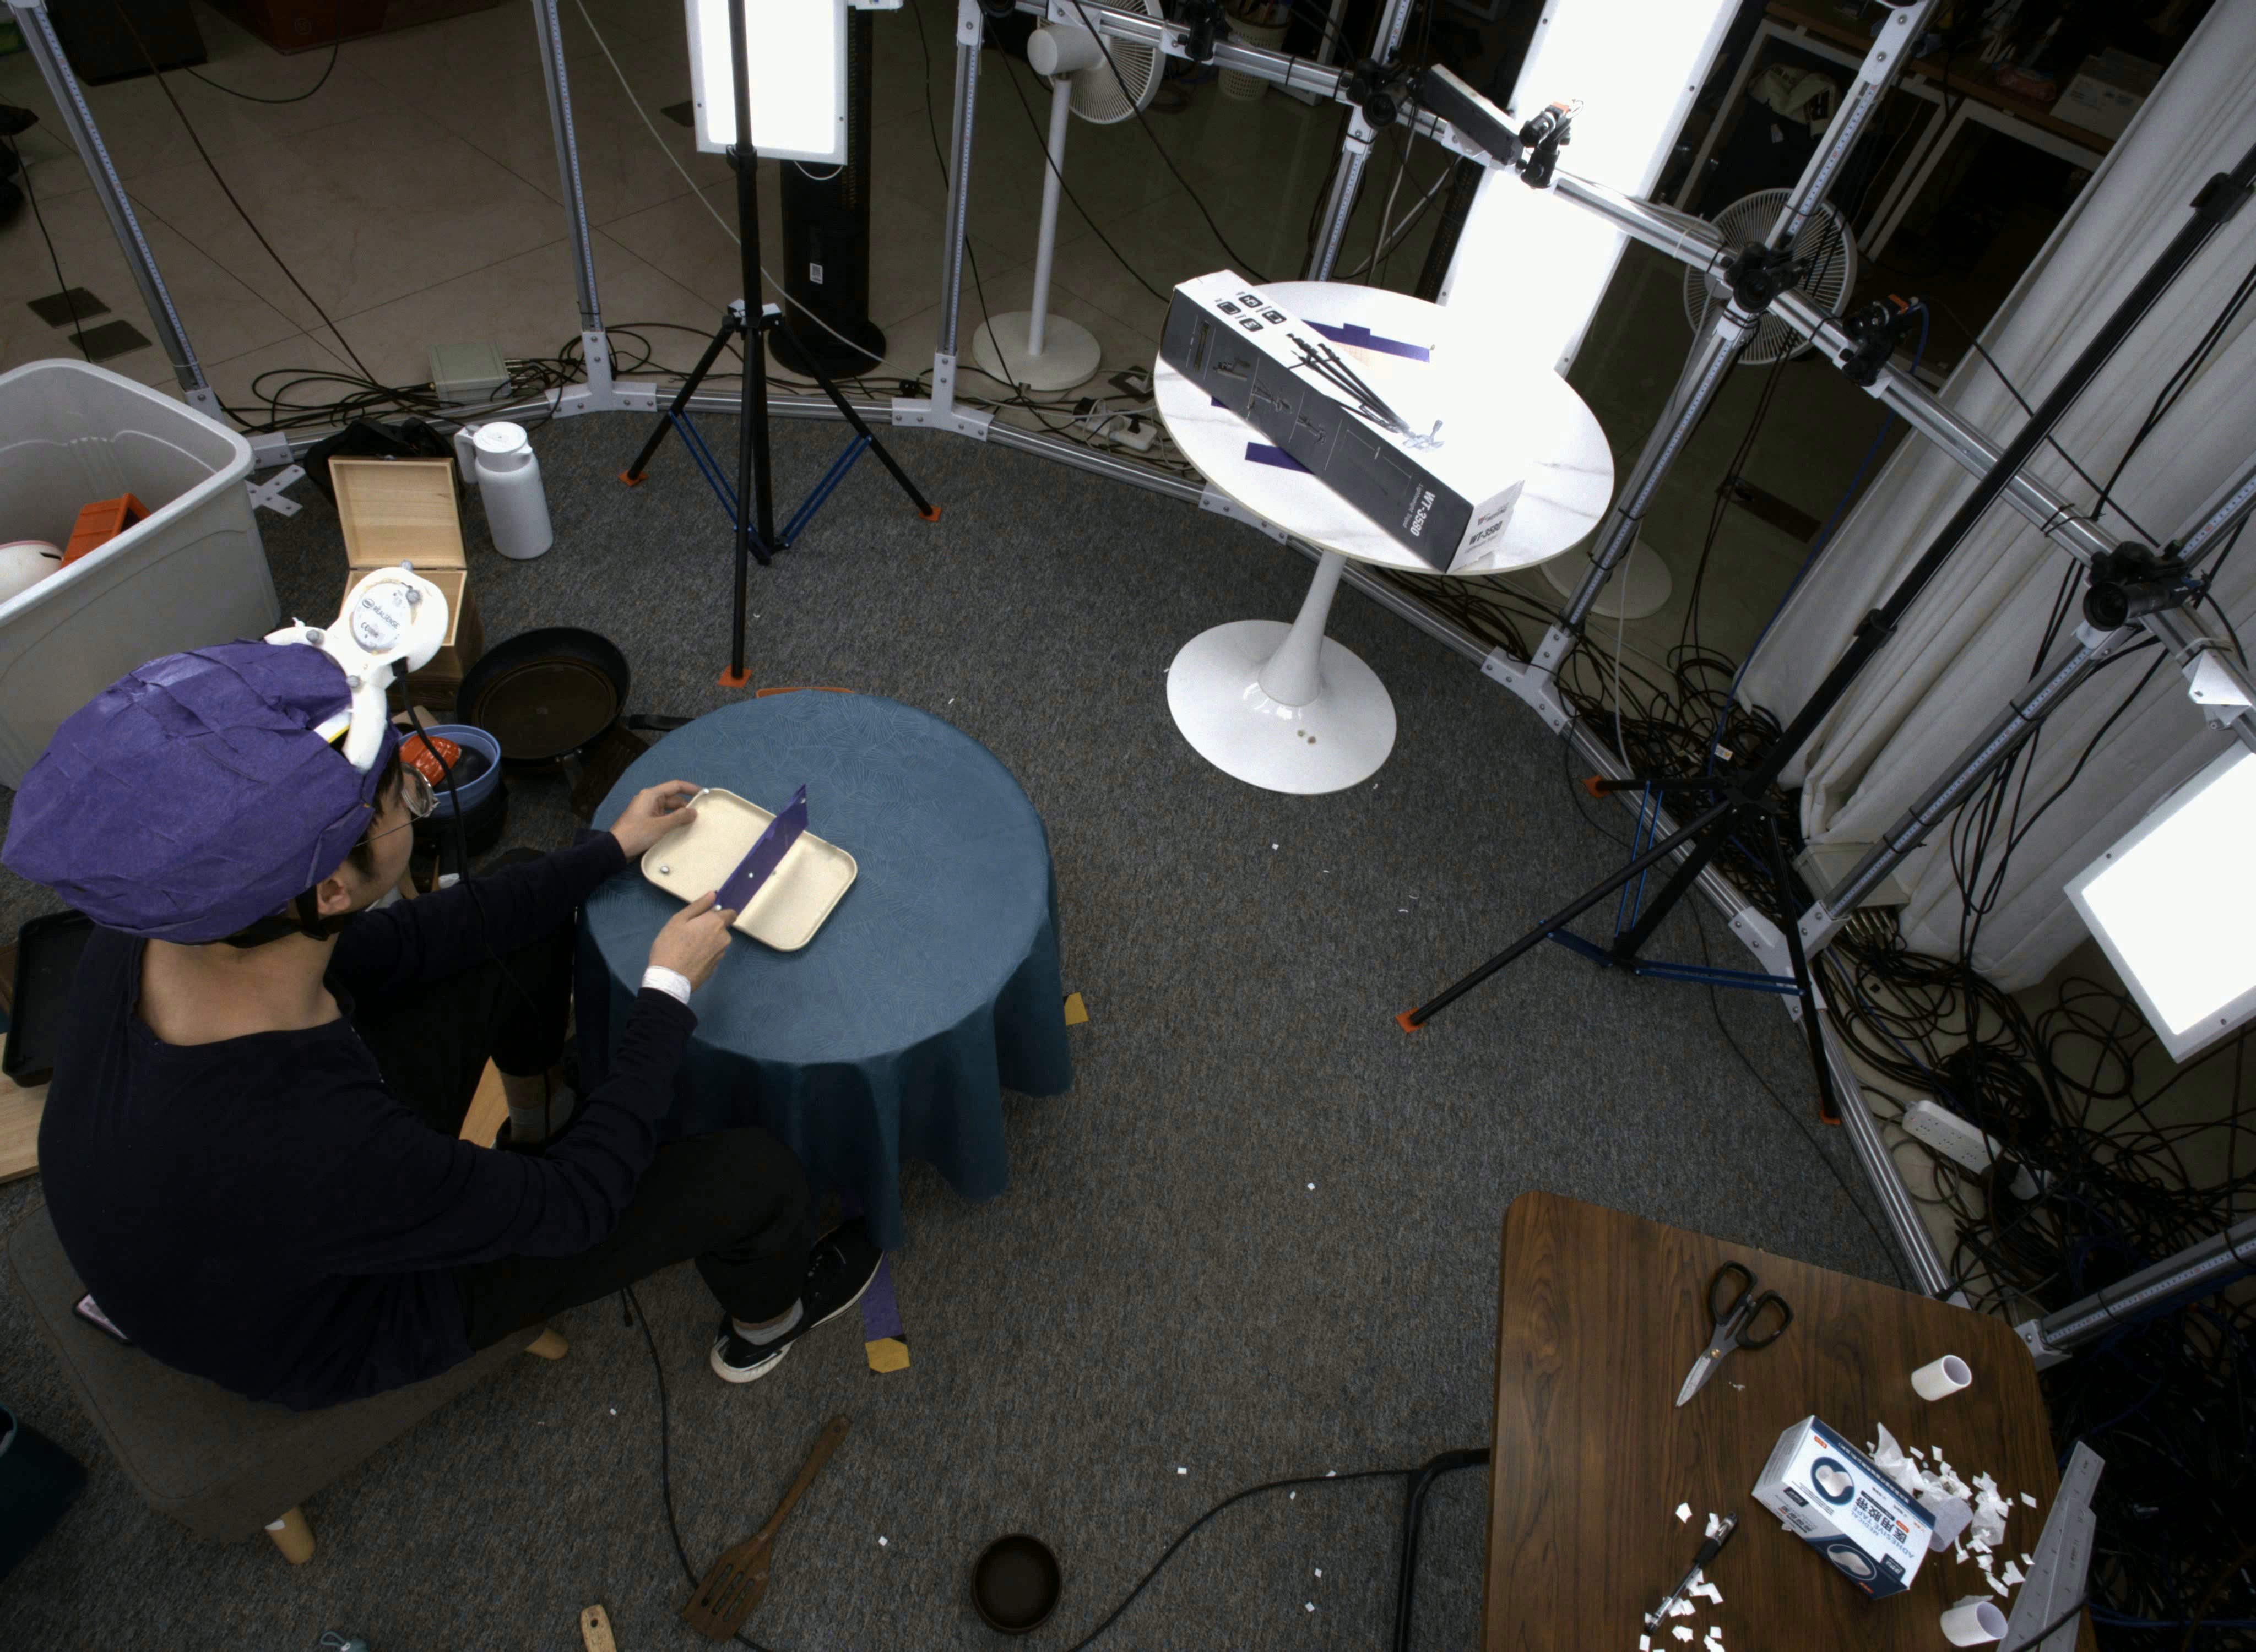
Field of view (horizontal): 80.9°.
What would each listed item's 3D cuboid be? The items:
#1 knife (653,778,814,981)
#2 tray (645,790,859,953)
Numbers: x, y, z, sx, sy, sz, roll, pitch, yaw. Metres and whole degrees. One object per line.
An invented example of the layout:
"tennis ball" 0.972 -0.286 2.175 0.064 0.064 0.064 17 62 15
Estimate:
"knife" -0.466 0.076 1.567 0.031 0.106 0.313 24 52 9
"tray" -0.481 0.056 1.659 0.237 0.018 0.170 27 52 2
